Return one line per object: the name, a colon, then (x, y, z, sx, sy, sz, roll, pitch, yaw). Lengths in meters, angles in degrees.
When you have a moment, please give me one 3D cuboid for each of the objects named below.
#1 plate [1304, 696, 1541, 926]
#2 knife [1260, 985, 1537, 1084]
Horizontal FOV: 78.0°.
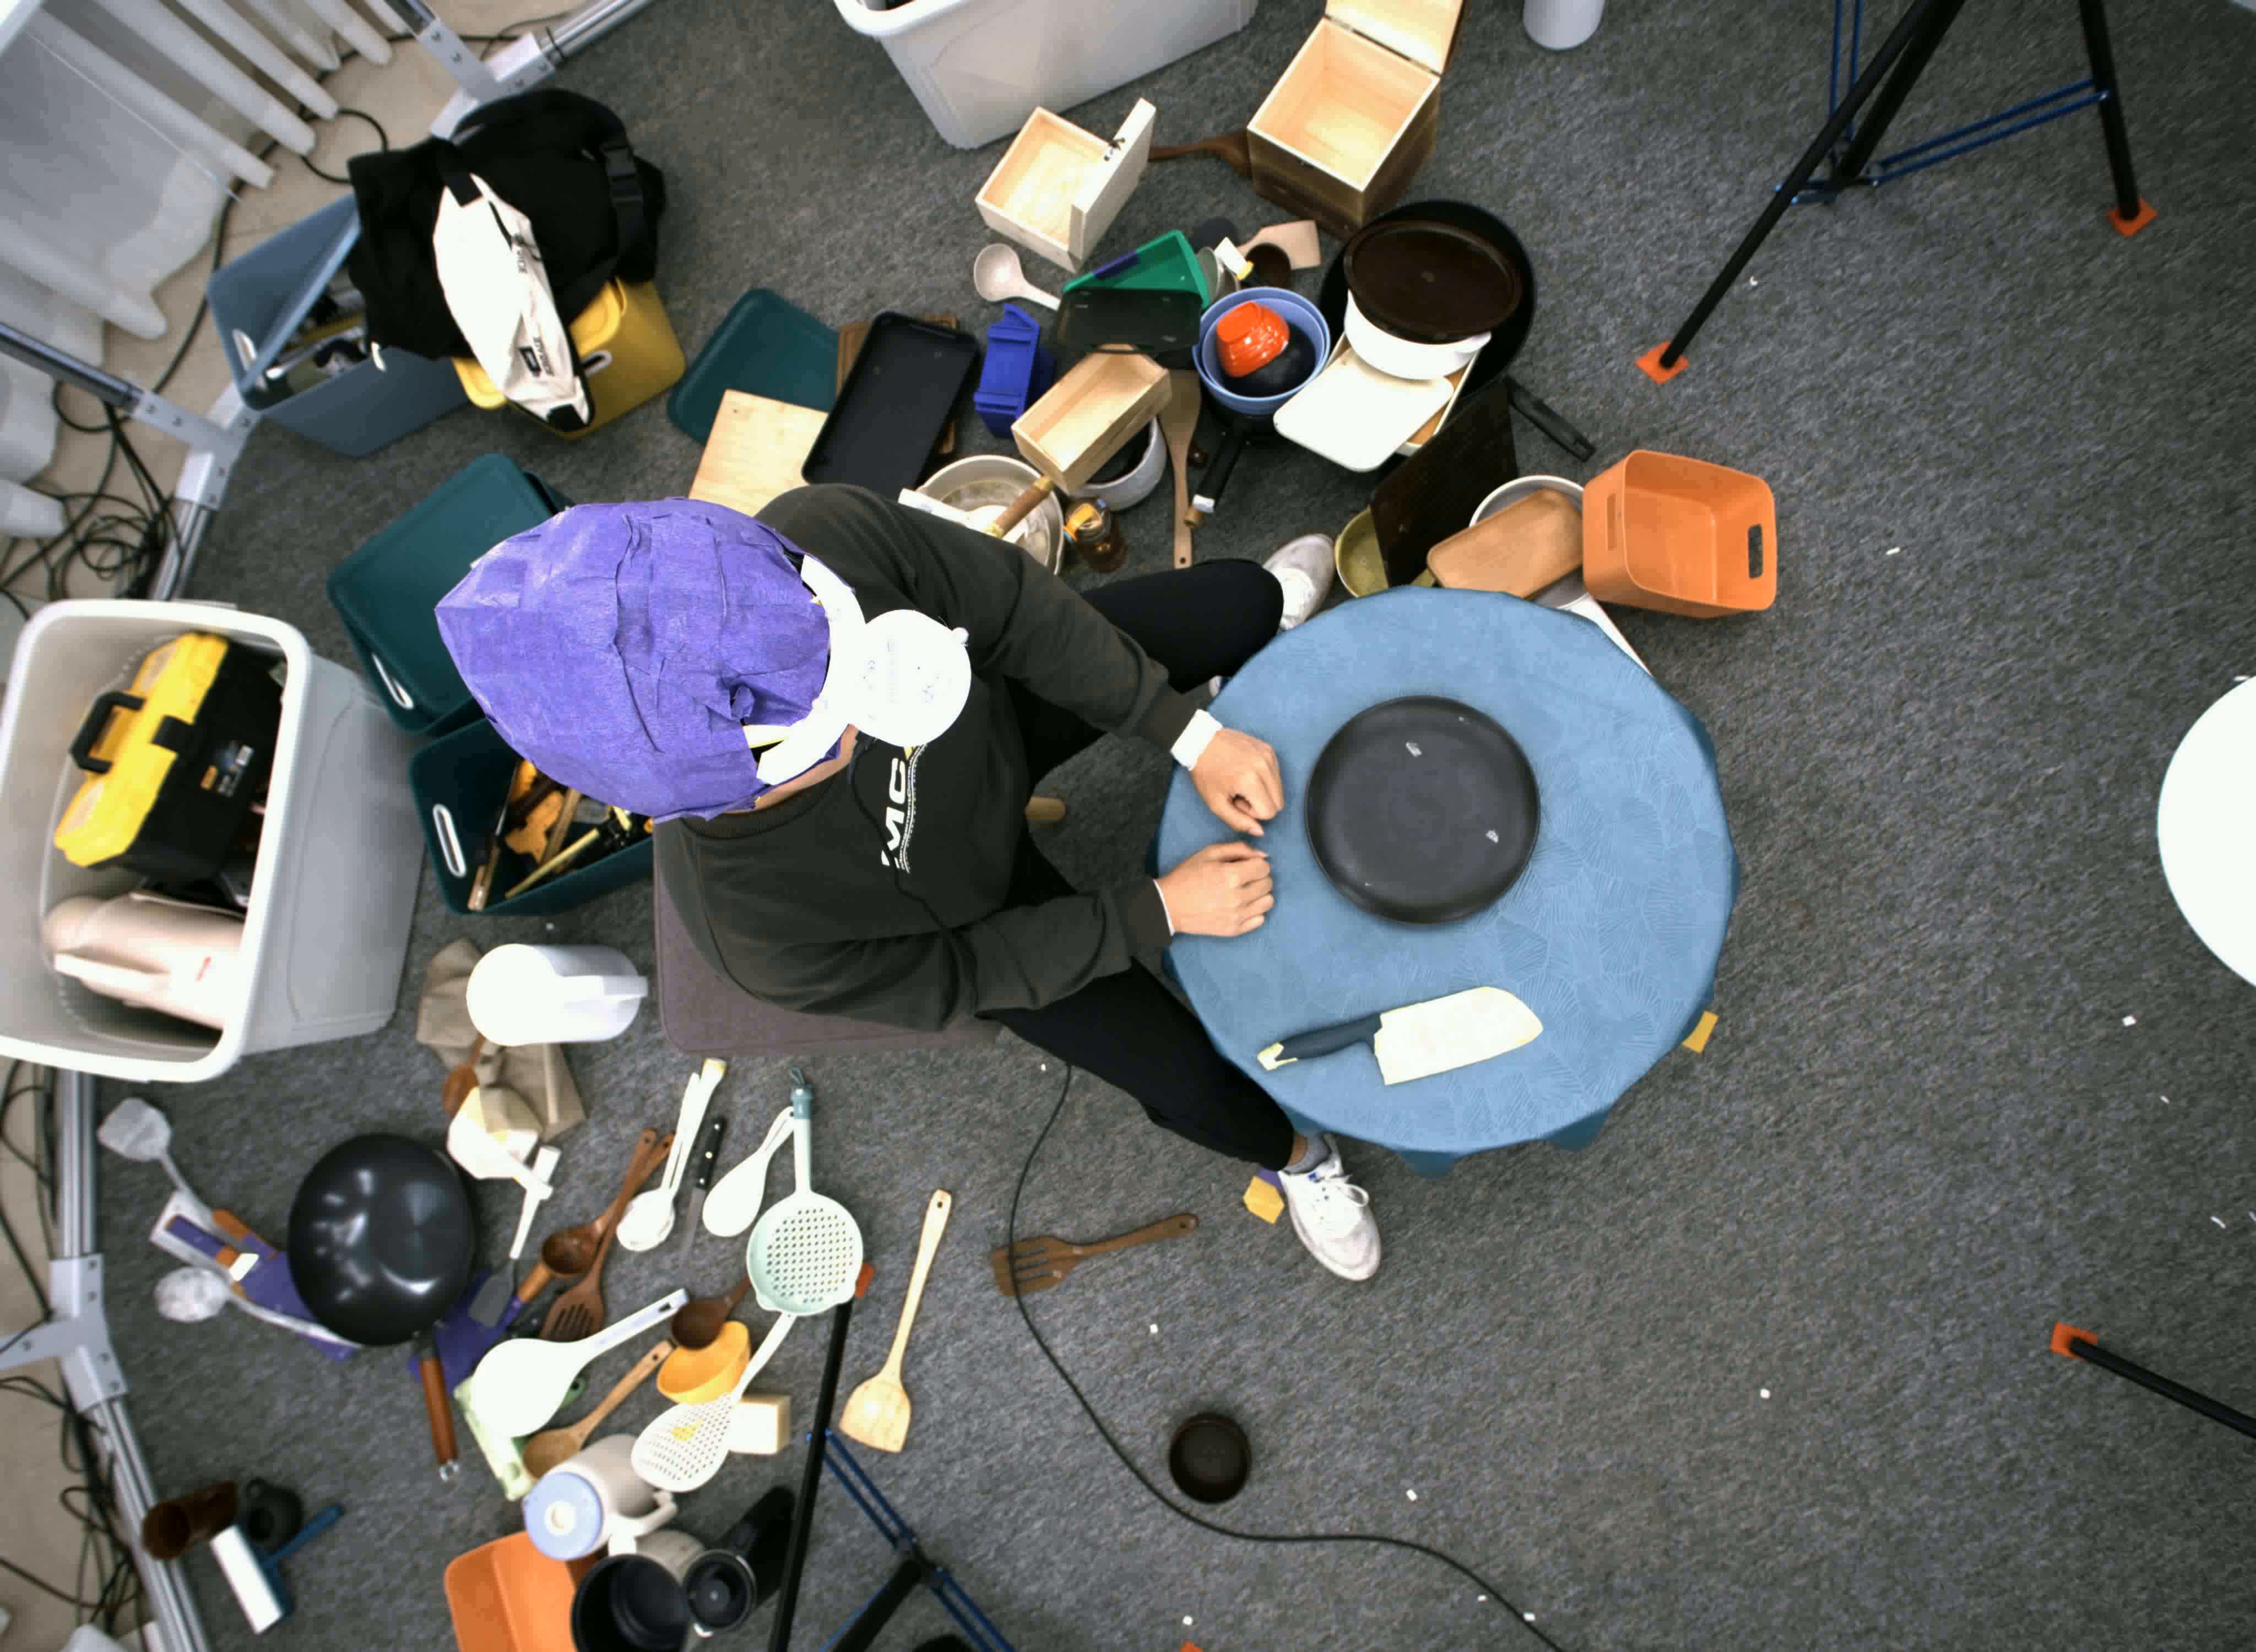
plate: (0.308, -0.017, 1.446, 0.245, 0.023, 0.243, -1, 87, 11)
knife: (0.282, 0.225, 1.442, 0.291, 0.027, 0.080, -13, 83, 9)
